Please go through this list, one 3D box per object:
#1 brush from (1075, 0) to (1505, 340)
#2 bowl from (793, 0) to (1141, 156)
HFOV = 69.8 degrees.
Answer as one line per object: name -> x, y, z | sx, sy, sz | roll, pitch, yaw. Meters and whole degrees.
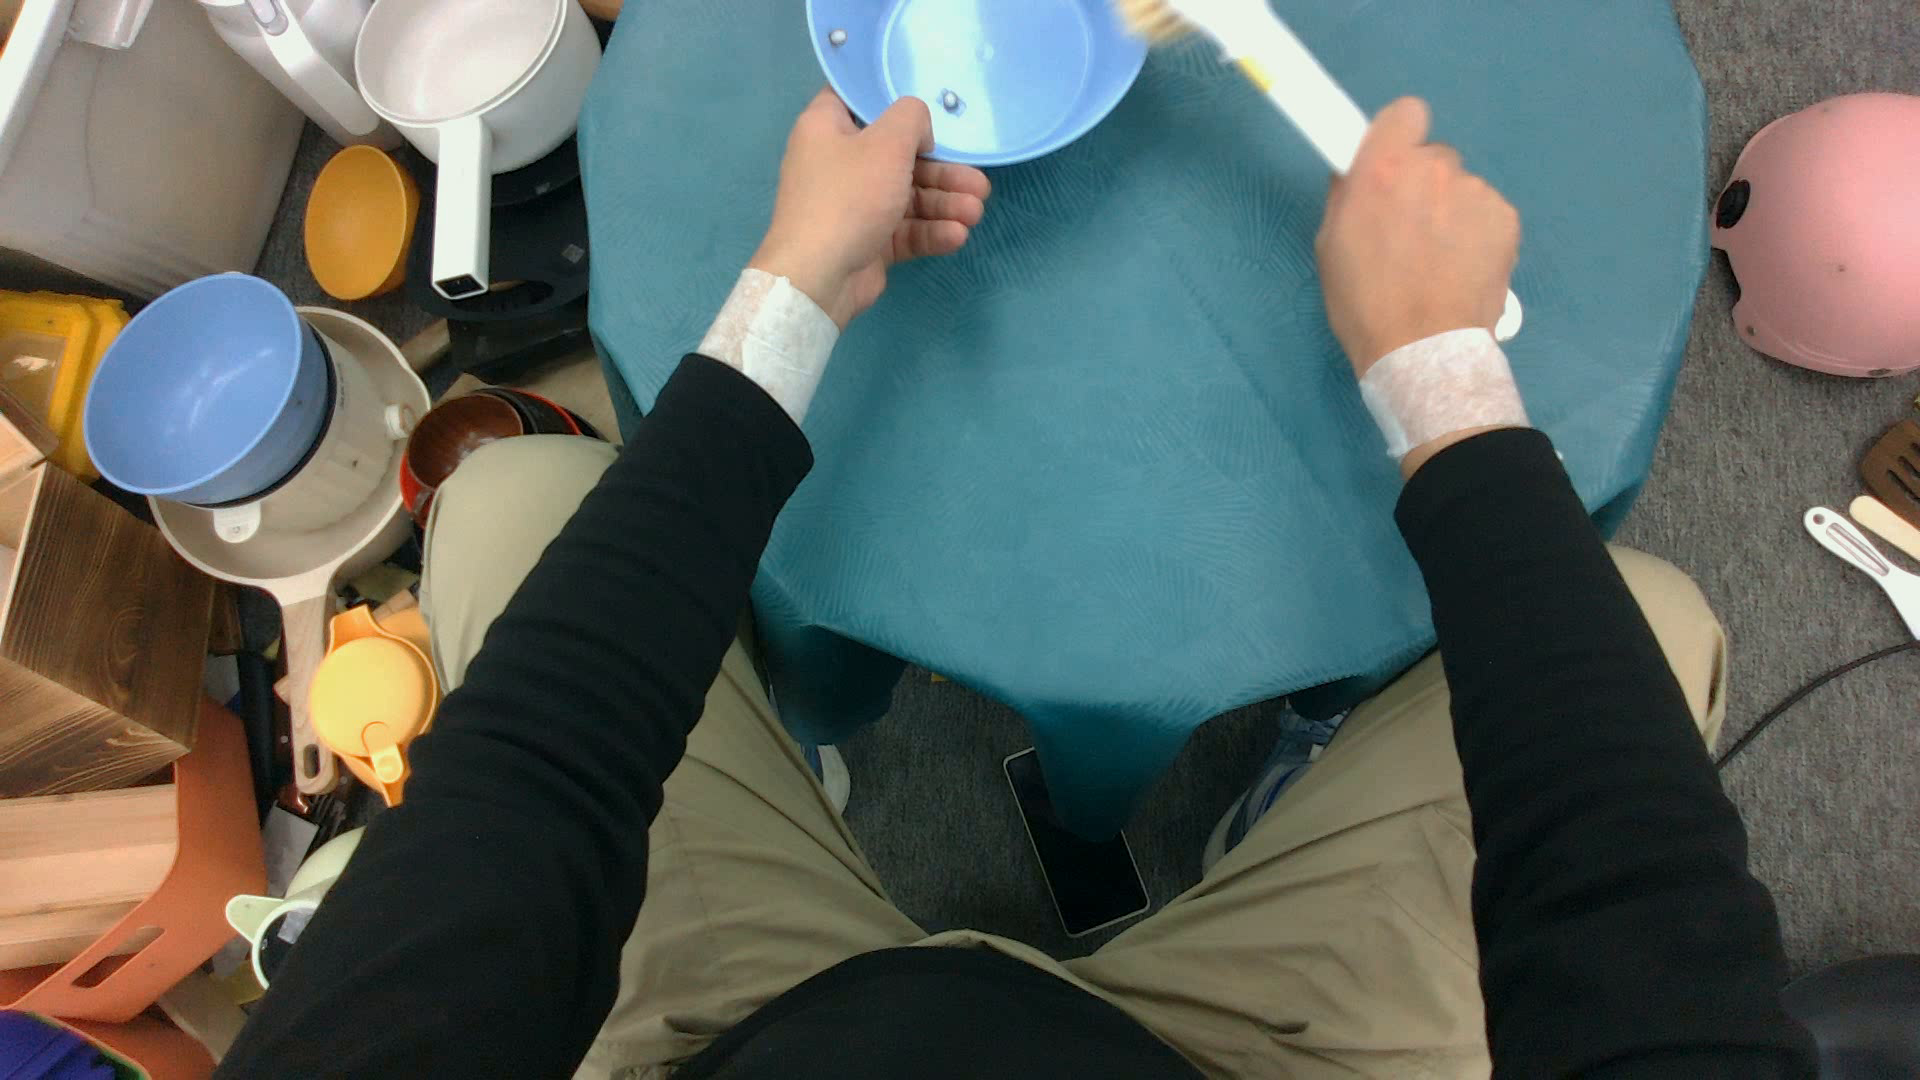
brush -> 0.158, -0.191, 0.666 | 0.266, 0.056, 0.068 | 45, 76, -8
bowl -> 0.005, -0.270, 0.720 | 0.176, 0.070, 0.176 | -1, 81, 3
